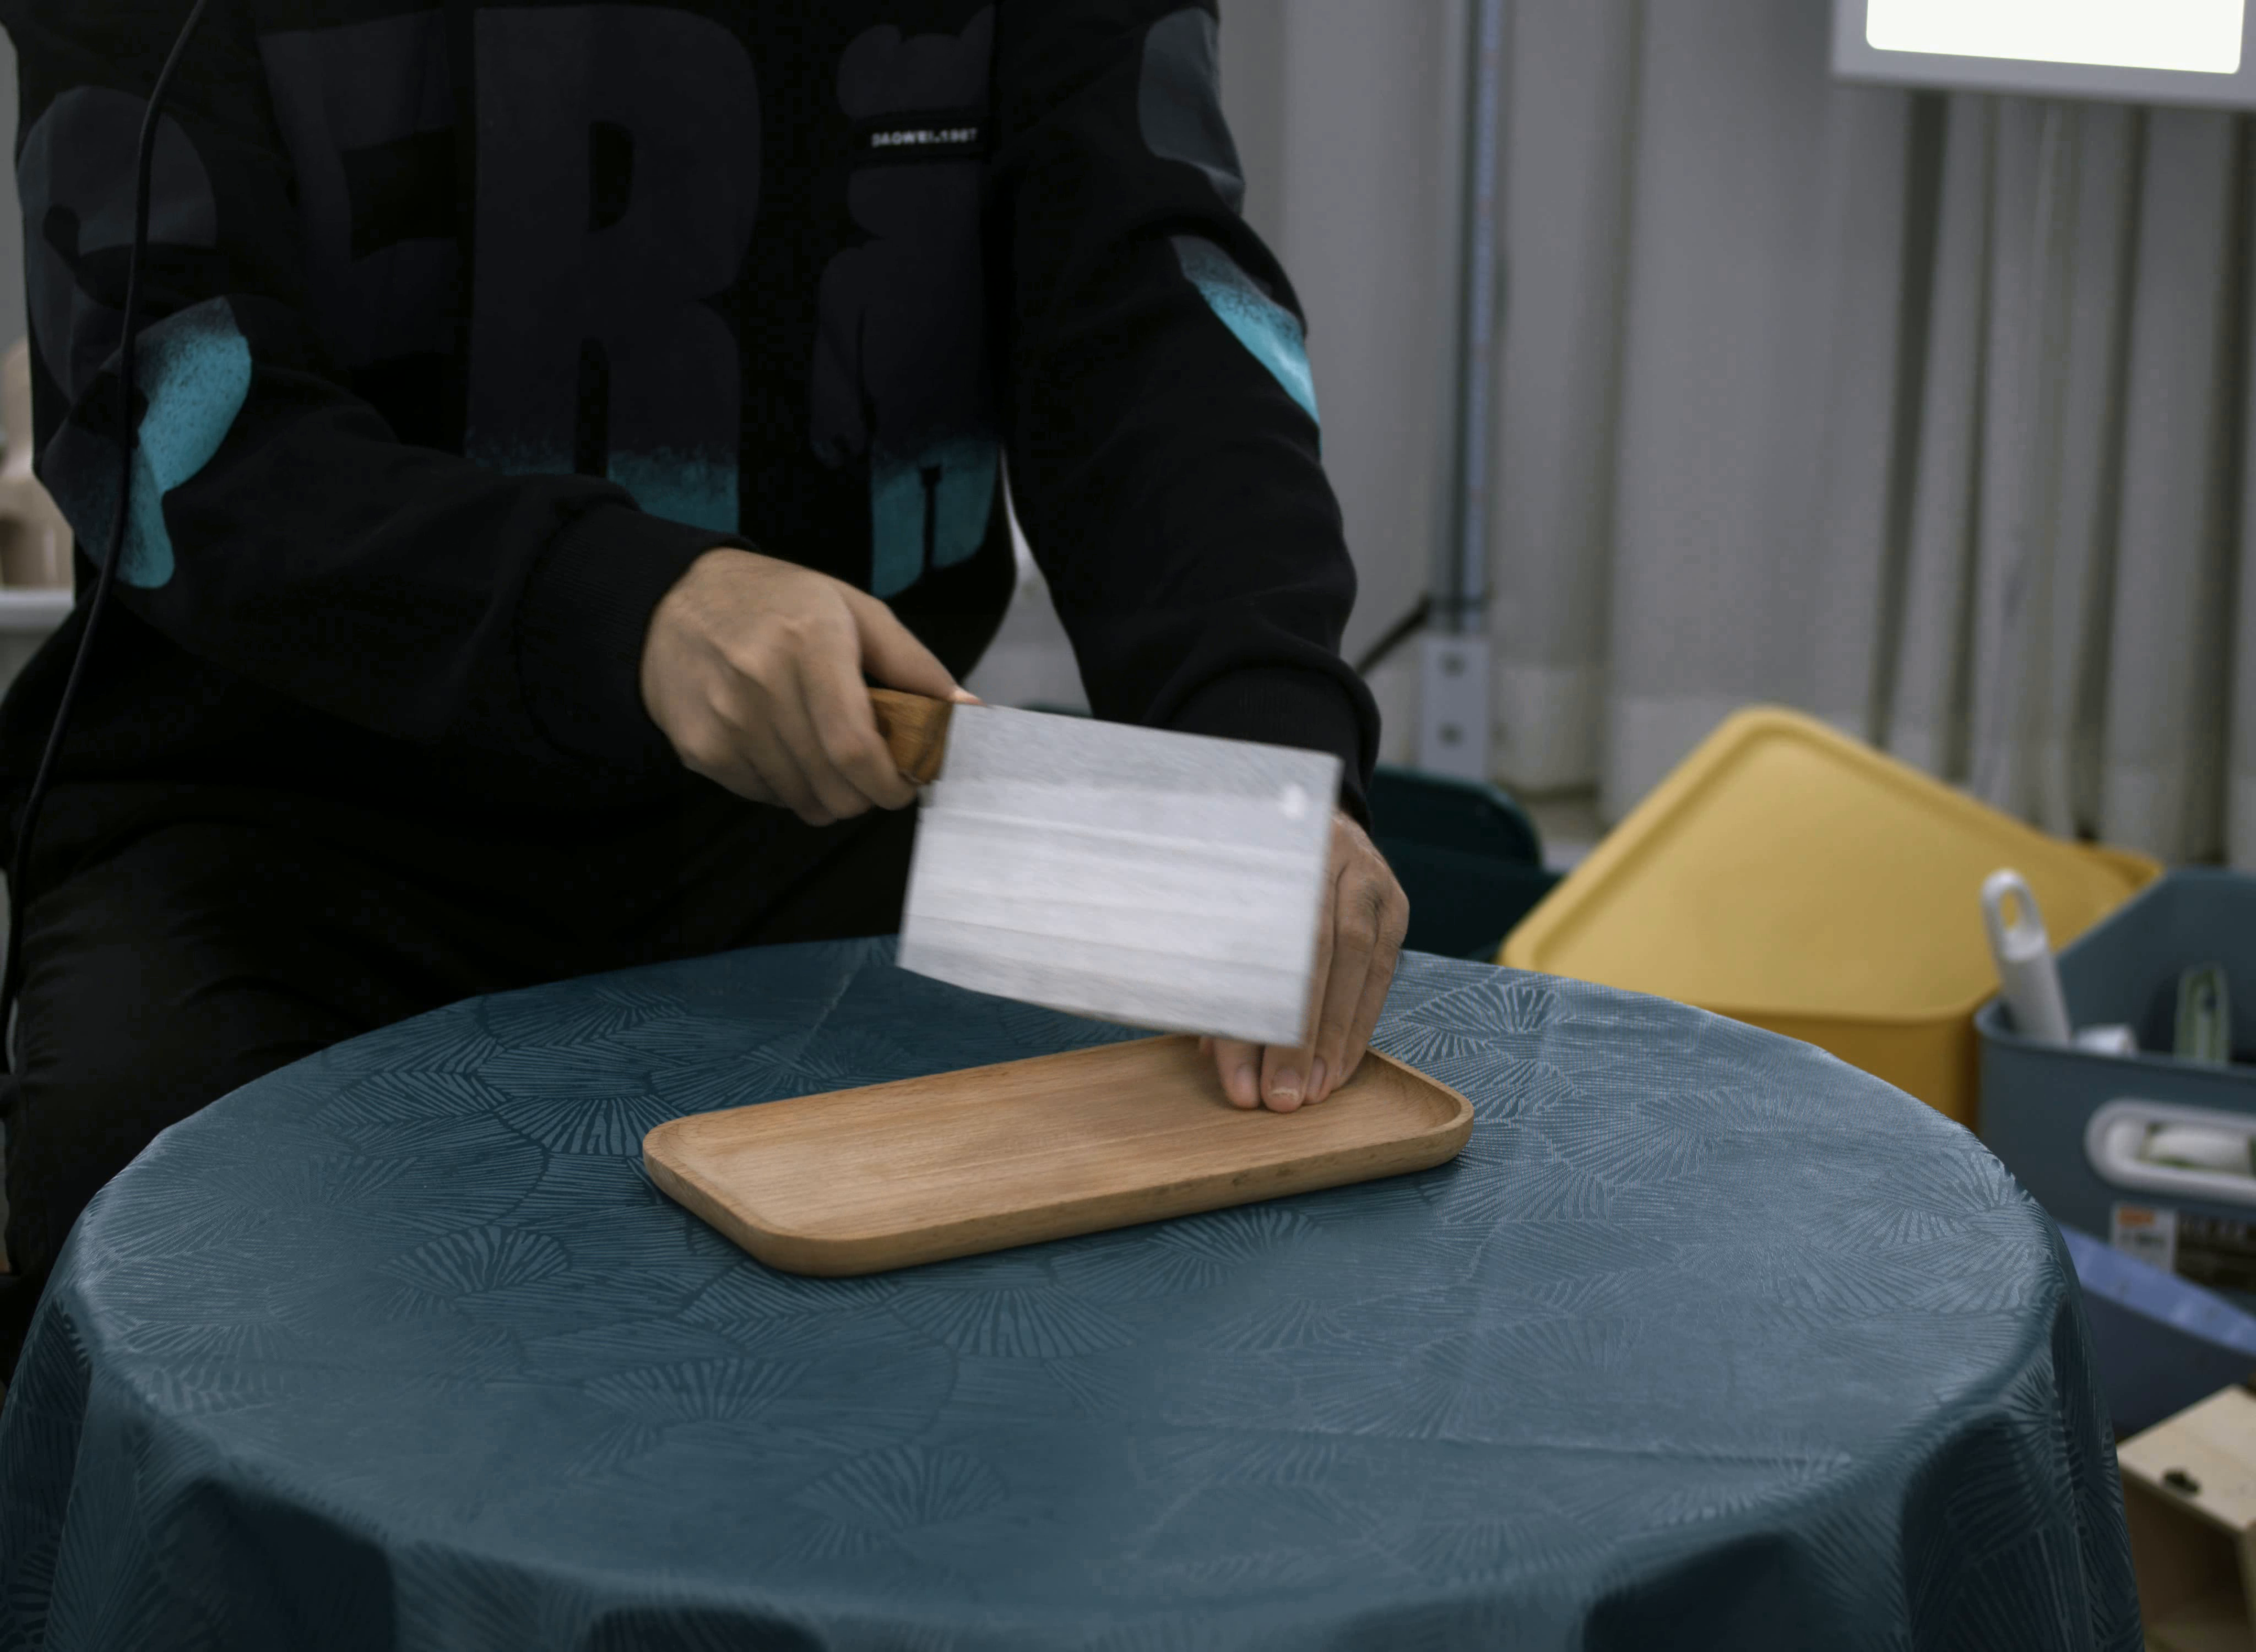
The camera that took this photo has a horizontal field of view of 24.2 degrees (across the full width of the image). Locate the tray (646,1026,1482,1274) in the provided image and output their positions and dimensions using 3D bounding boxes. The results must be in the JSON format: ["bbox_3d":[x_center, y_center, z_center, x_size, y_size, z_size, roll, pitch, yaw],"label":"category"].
[{"bbox_3d":[-0.019,0.099,1.640,0.252,0.023,0.129,-6,19,-27],"label":"tray"}]

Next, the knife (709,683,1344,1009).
[{"bbox_3d":[-0.039,0.006,1.688,0.021,0.093,0.302,3,5,-43],"label":"knife"}]
